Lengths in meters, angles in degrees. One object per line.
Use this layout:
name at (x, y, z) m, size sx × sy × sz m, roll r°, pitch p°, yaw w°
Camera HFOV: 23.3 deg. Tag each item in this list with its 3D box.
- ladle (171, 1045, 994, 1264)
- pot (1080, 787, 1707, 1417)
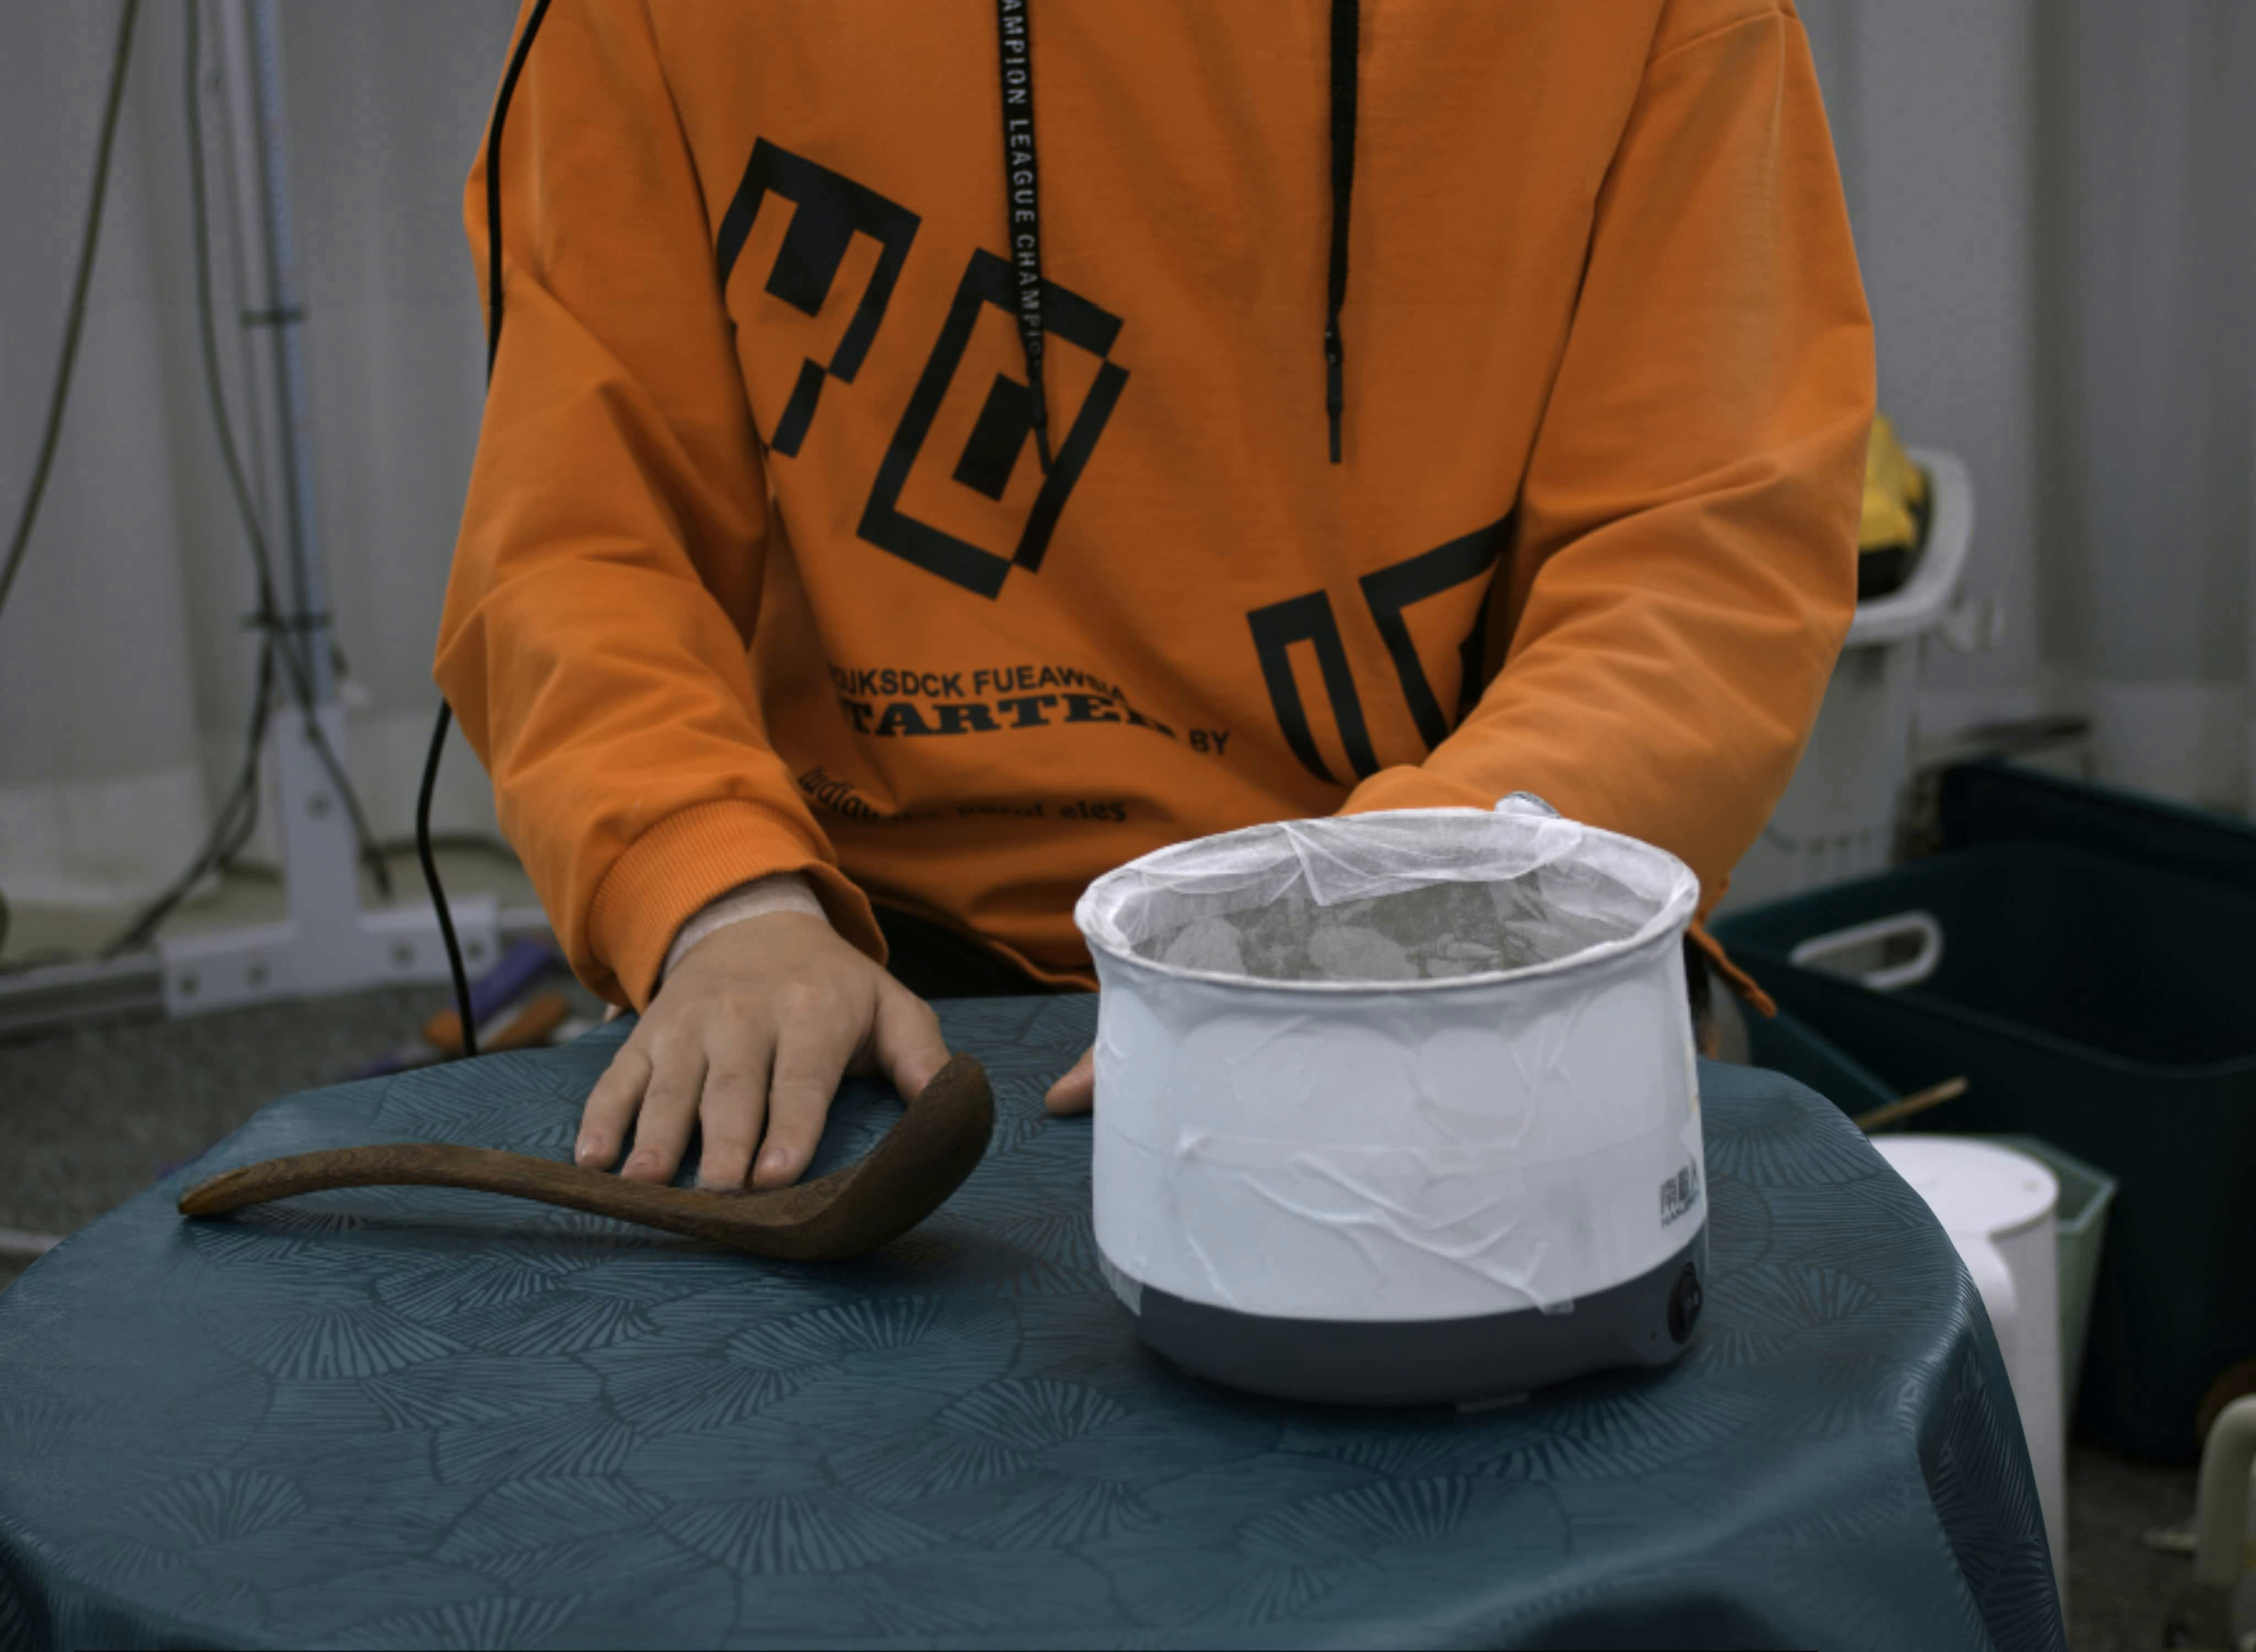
ladle at (-0.172, 0.095, 1.690) m, size 0.274 × 0.071 × 0.076 m, roll 3°, pitch 13°, yaw 19°
pot at (0.088, 0.073, 1.588) m, size 0.179 × 0.136 × 0.234 m, roll 5°, pitch 17°, yaw 25°
